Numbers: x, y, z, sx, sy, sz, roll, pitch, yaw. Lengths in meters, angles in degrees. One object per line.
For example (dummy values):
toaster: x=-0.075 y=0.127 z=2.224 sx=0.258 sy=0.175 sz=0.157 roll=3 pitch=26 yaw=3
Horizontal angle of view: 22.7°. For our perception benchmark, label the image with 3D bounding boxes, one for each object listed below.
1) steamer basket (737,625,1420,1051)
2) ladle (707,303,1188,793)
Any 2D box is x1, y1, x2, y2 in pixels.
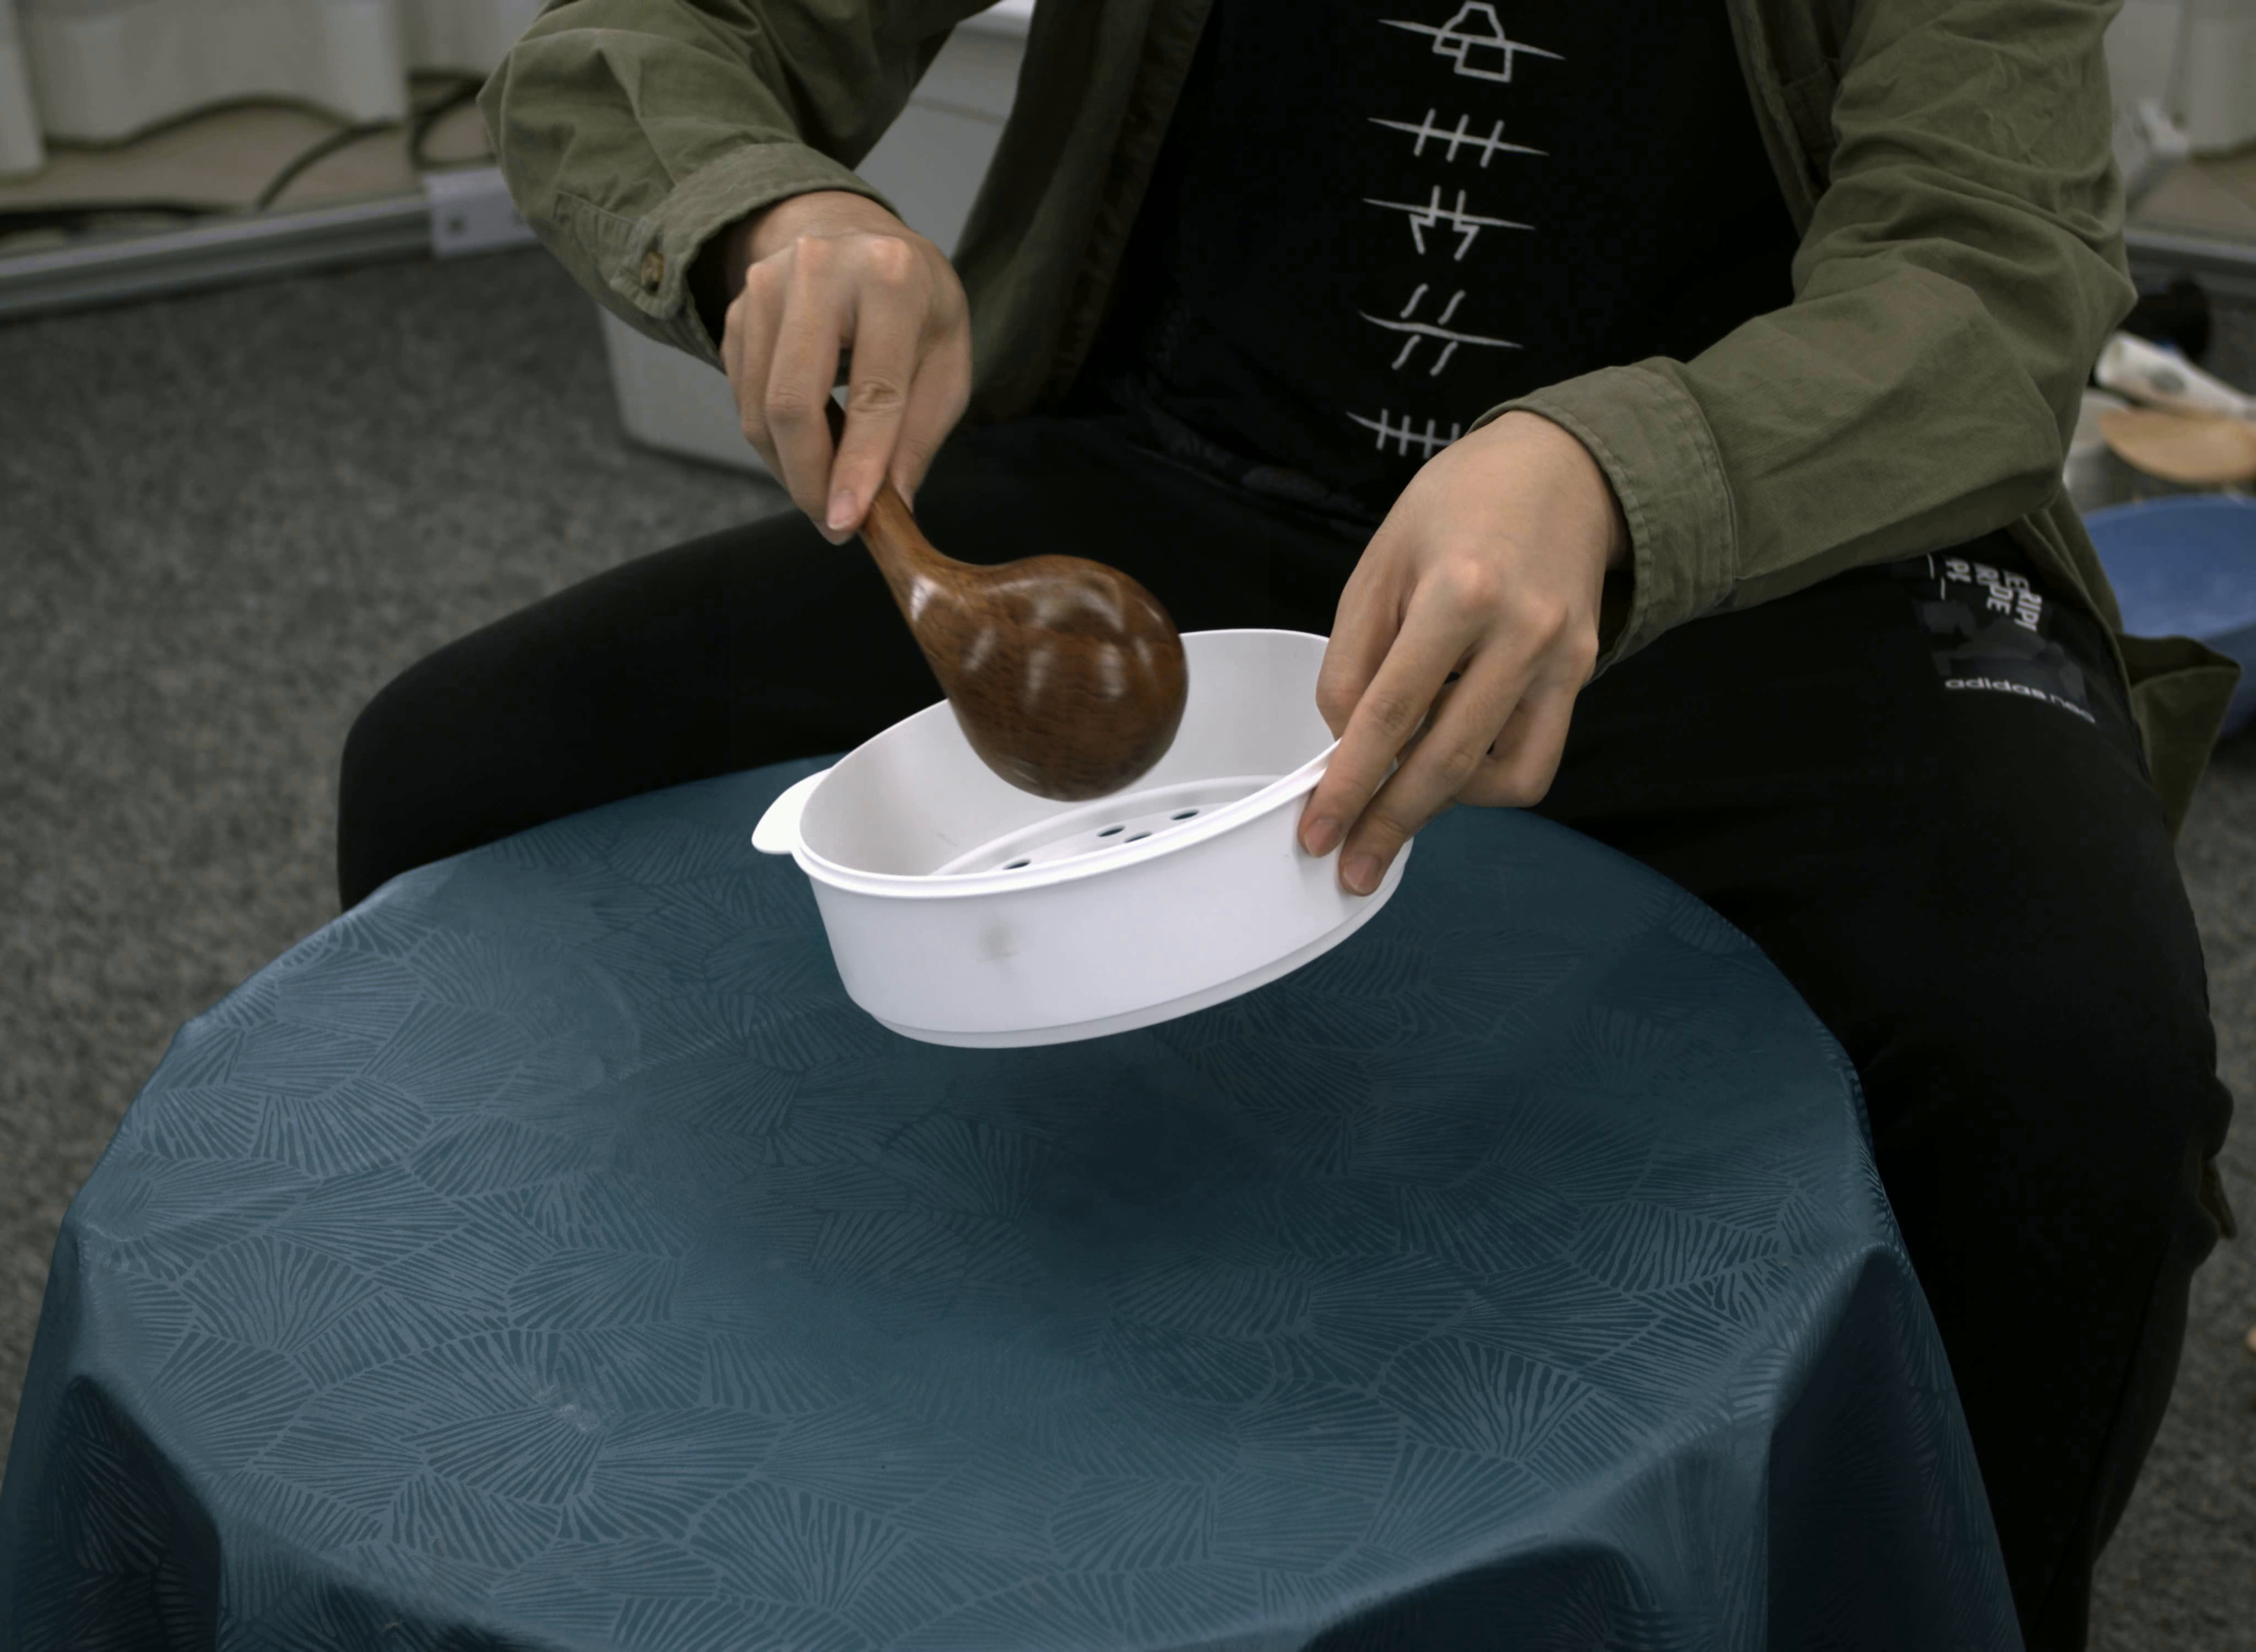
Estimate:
steamer basket: x=-0.010 y=0.005 z=1.830 sx=0.228 sy=0.069 sz=0.205 roll=-9 pitch=21 yaw=17
ladle: x=-0.061 y=-0.104 z=1.889 sx=0.076 sy=0.081 sz=0.277 roll=16 pitch=22 yaw=-32
